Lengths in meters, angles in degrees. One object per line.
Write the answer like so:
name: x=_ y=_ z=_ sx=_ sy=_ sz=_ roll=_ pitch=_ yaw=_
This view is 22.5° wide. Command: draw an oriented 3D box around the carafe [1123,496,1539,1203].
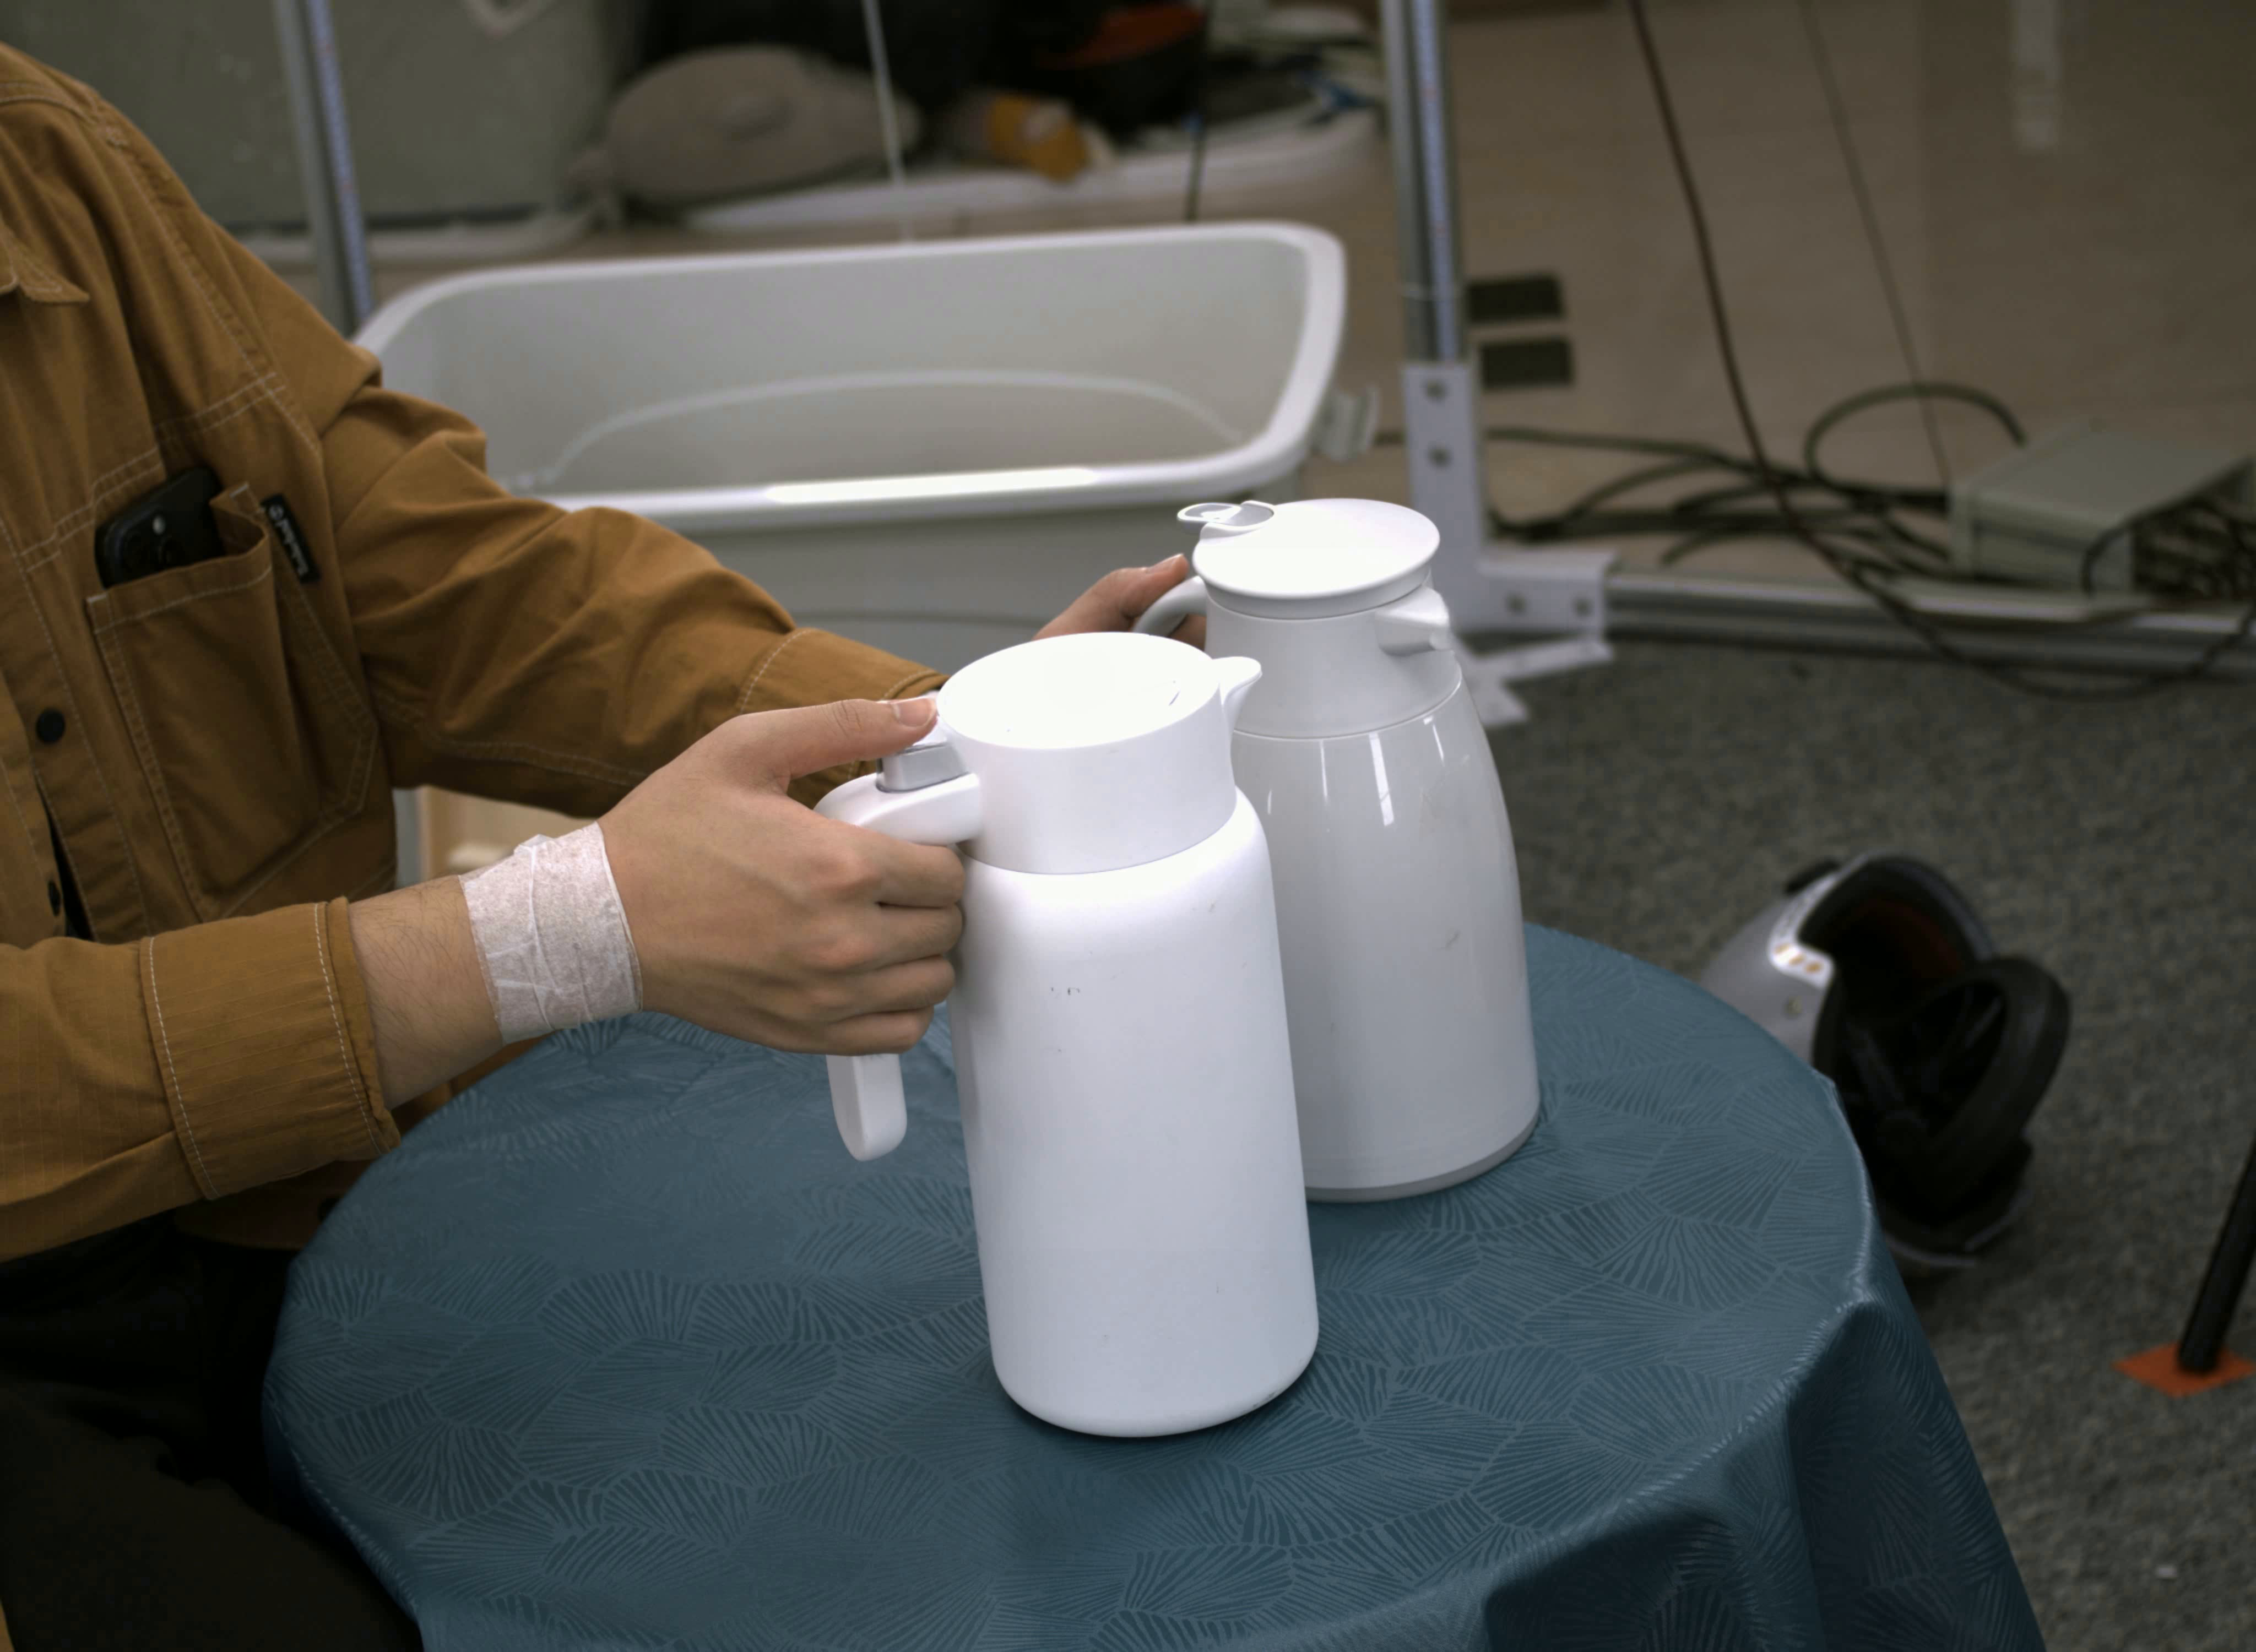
carafe: x=0.065 y=-0.001 z=2.137 sx=0.166 sy=0.252 sz=0.131 roll=16 pitch=33 yaw=39

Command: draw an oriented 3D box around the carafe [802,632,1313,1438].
carafe: x=-0.019 y=0.077 z=1.965 sx=0.172 sy=0.273 sz=0.122 roll=-17 pitch=29 yaw=-21
